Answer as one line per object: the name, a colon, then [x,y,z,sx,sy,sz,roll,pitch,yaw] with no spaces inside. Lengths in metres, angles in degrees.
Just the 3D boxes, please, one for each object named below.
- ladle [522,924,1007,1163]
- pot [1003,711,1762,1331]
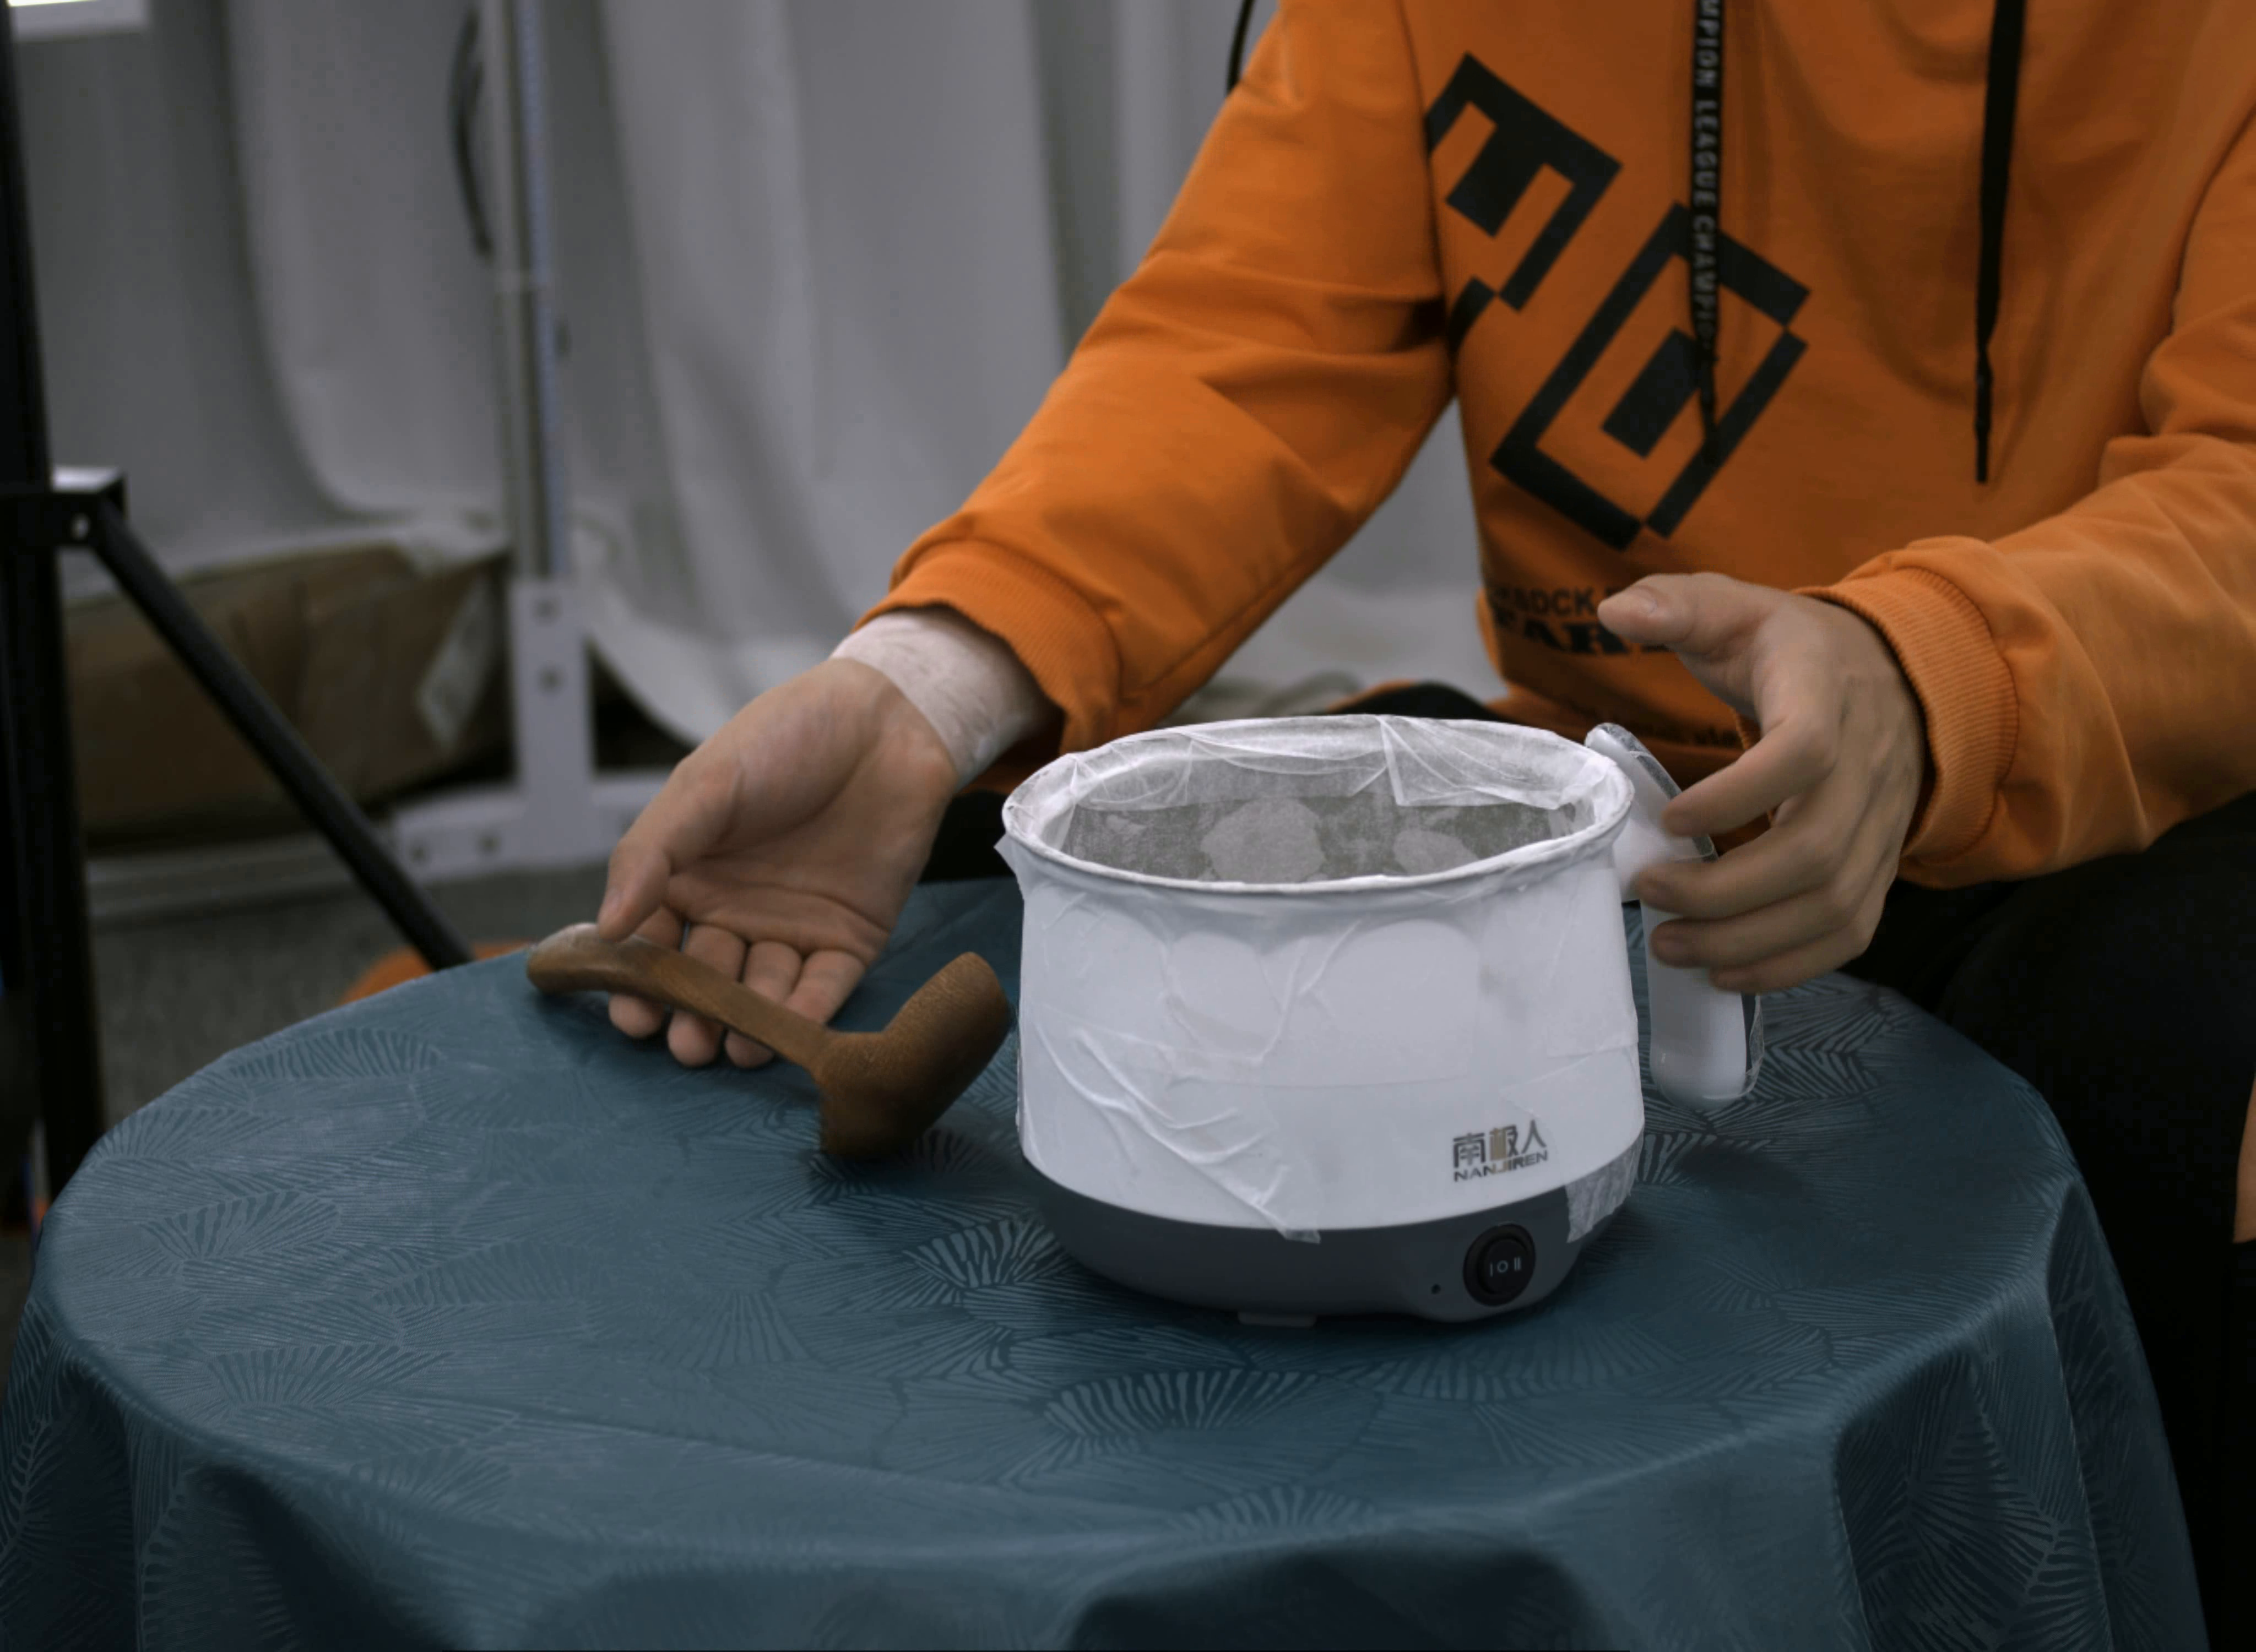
ladle: [-0.126,0.051,1.670,0.076,0.064,0.266,-39,32,-23]
pot: [0.079,0.048,1.505,0.228,0.136,0.182,-12,18,-29]
